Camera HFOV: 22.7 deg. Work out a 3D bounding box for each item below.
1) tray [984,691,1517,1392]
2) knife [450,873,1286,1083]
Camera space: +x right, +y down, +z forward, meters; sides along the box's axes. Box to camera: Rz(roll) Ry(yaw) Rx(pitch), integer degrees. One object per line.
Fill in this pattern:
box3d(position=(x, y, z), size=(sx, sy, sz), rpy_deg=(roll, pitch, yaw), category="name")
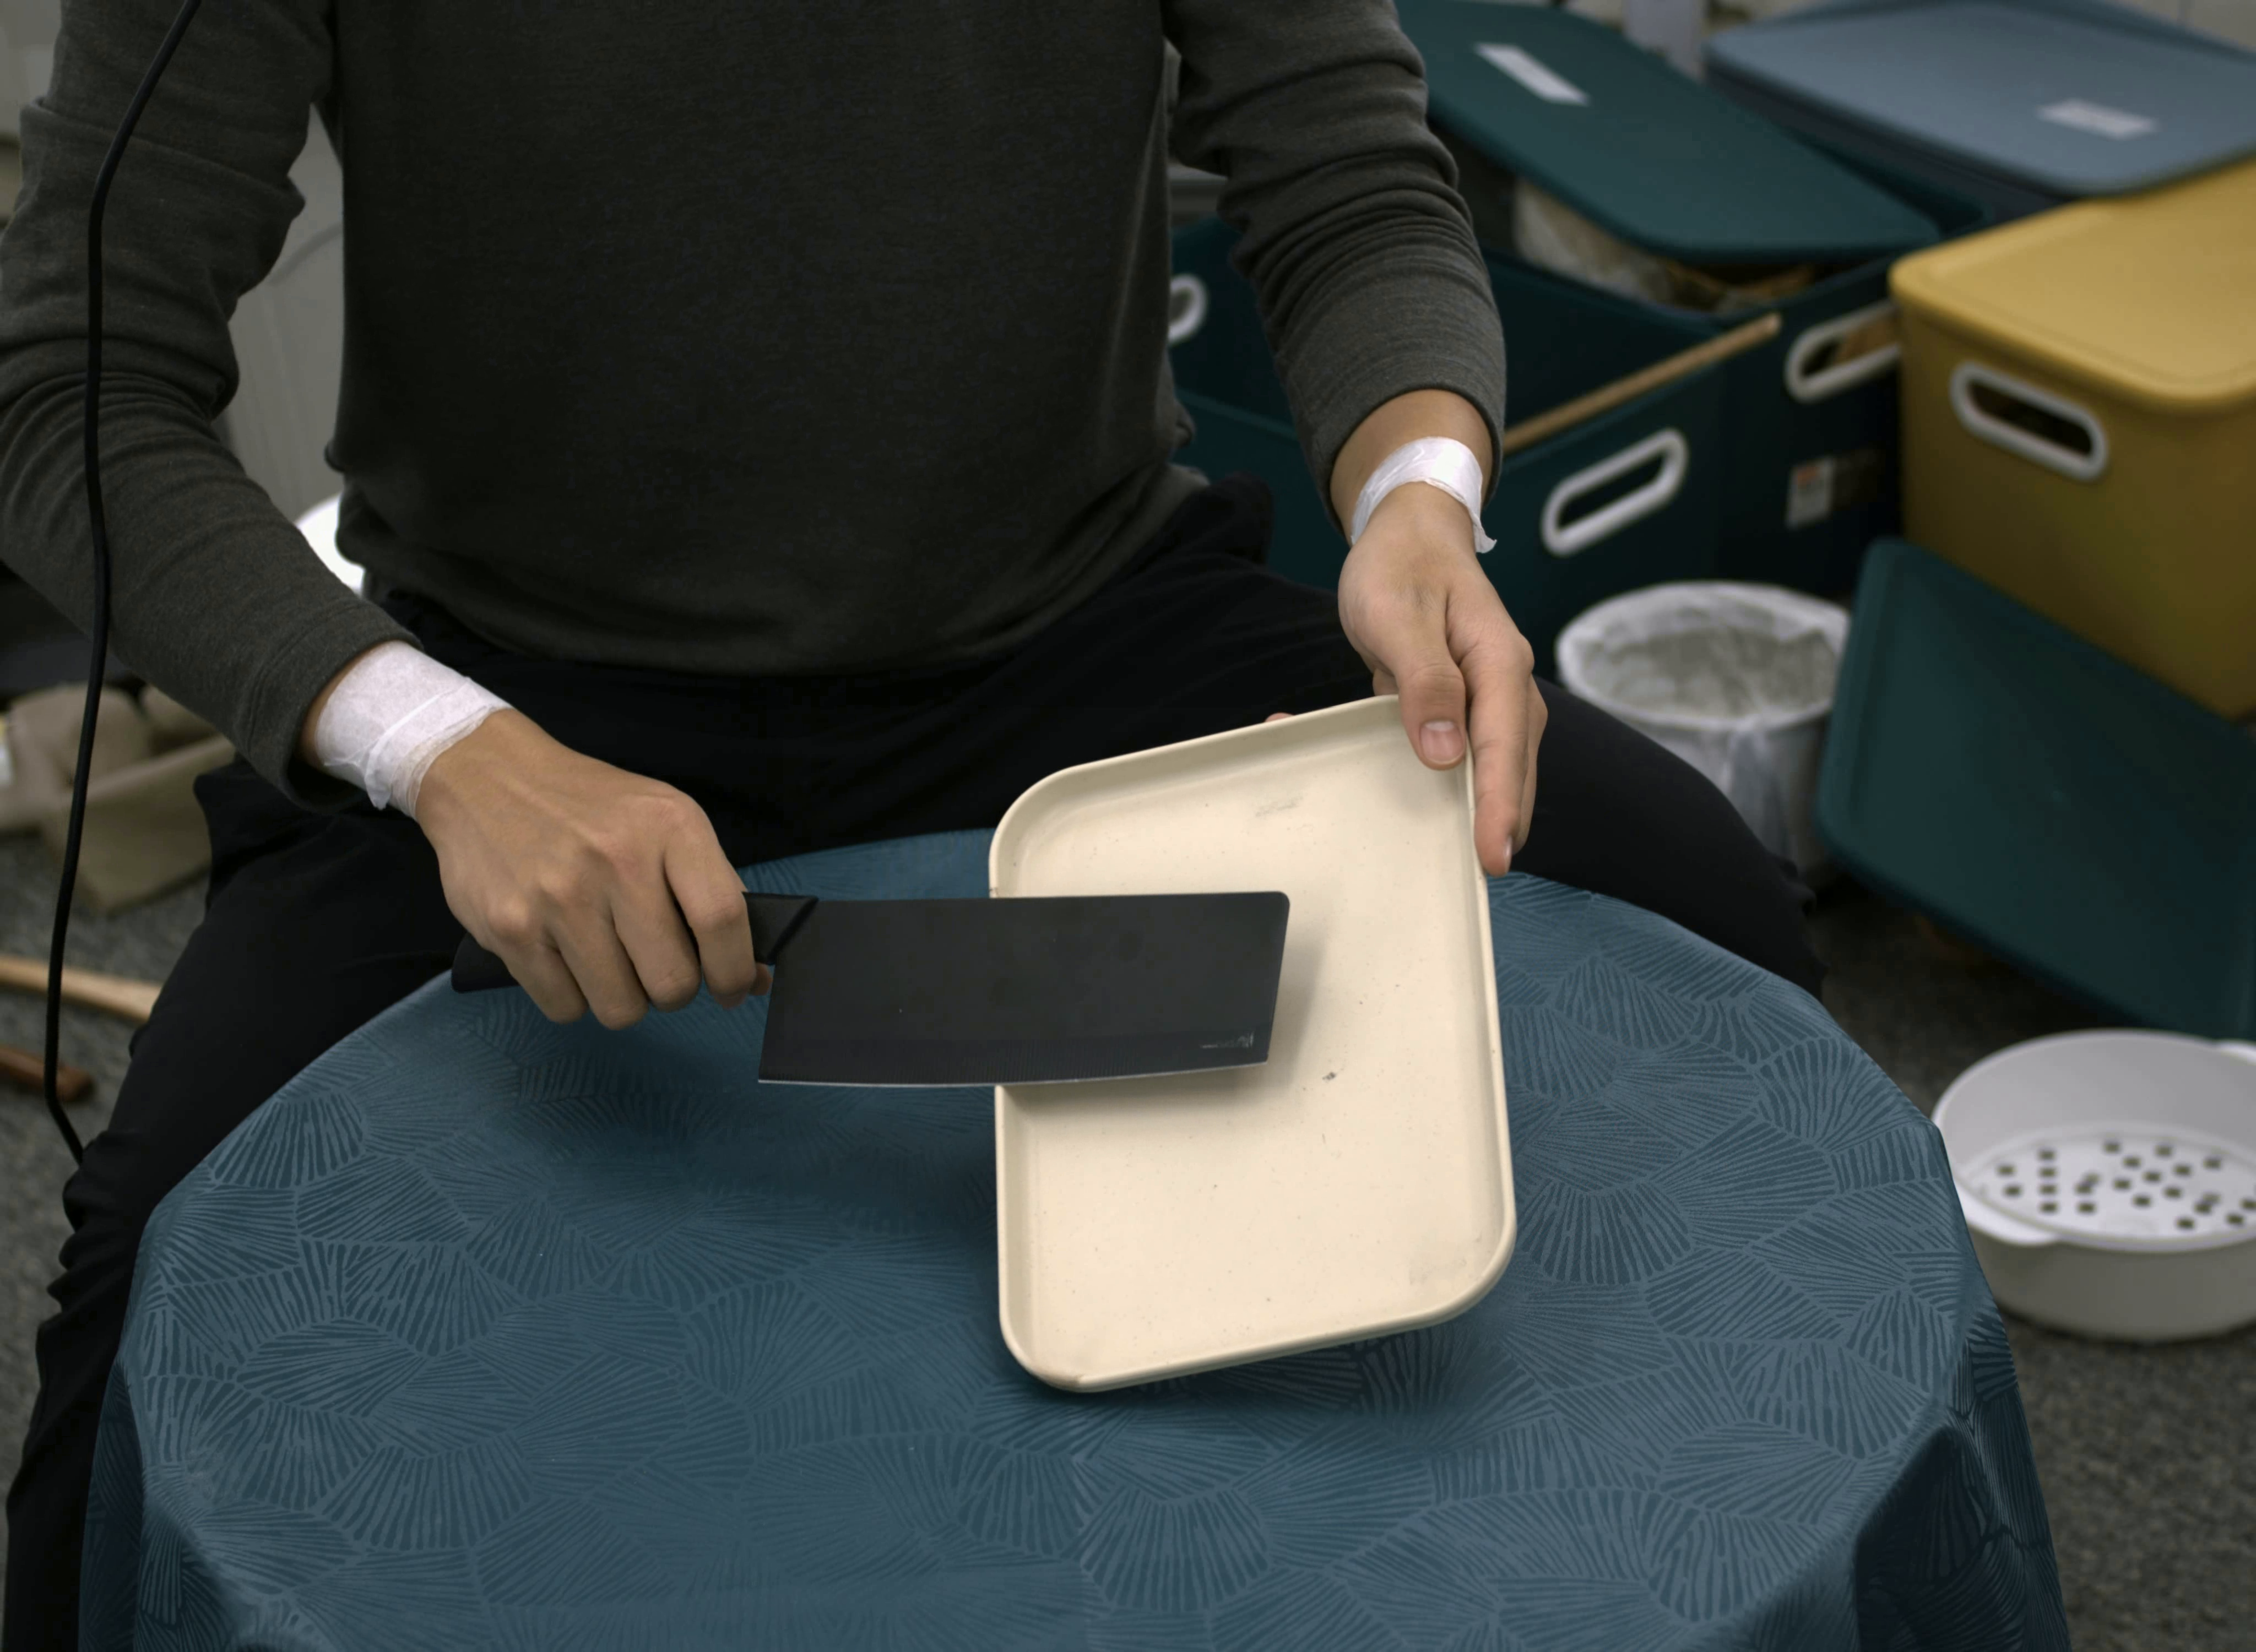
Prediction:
box3d(position=(0.037, 0.069, 1.808), size=(0.170, 0.017, 0.244), rpy_deg=(-12, 52, 13), category="tray")
box3d(position=(-0.089, 0.049, 1.857), size=(0.300, 0.020, 0.082), rpy_deg=(2, 64, 23), category="knife")
